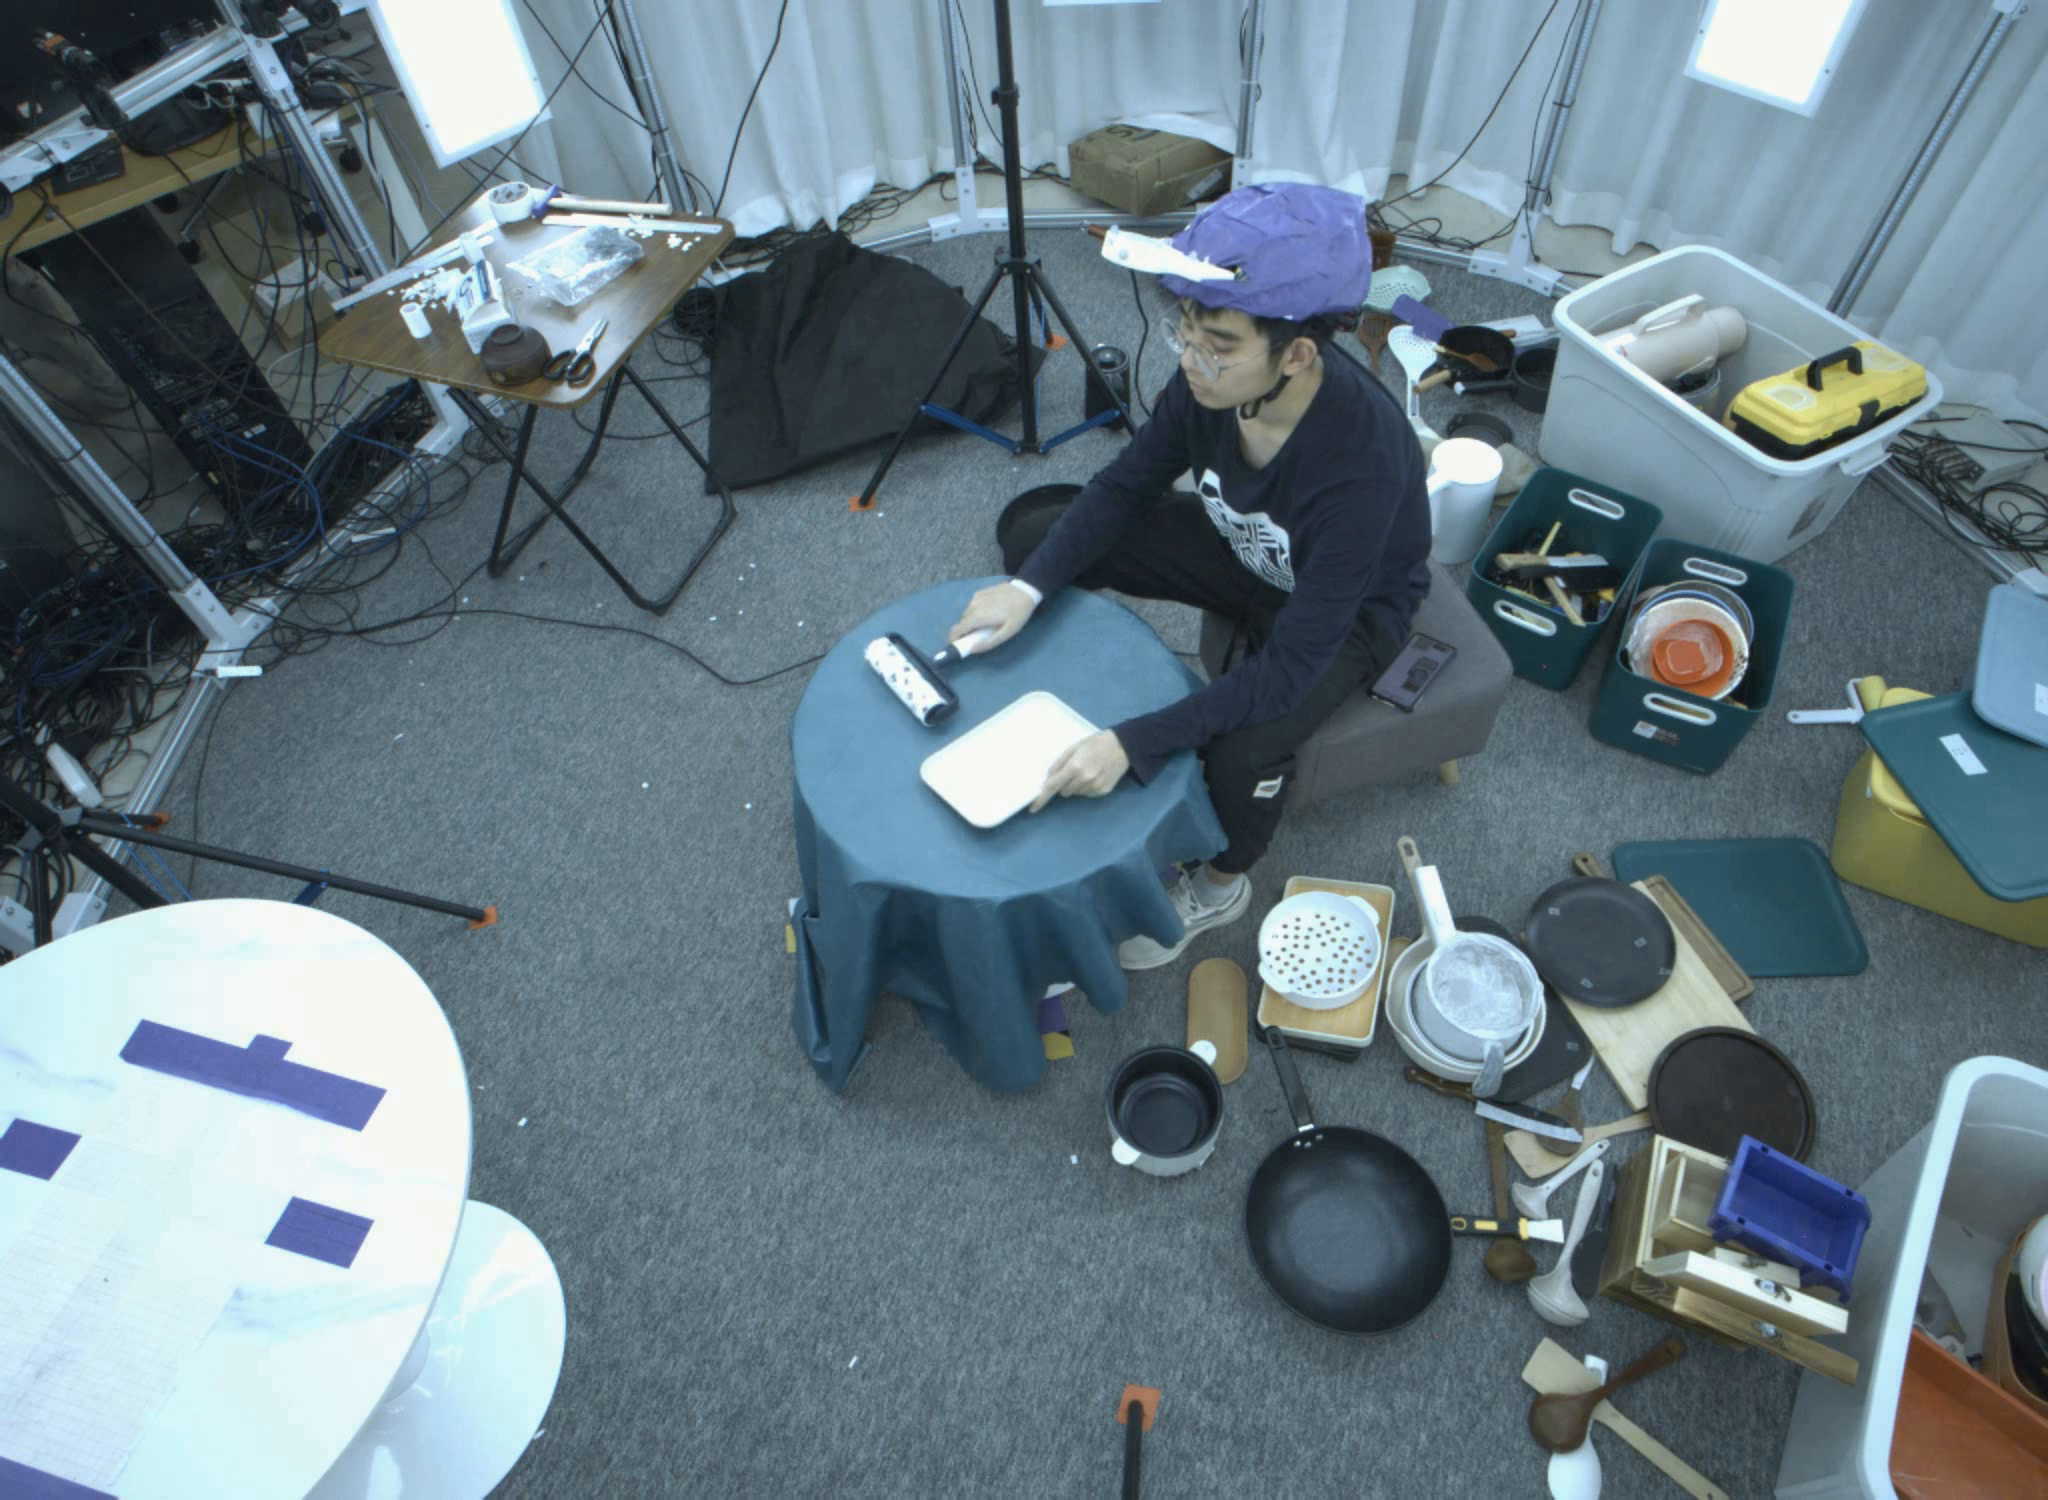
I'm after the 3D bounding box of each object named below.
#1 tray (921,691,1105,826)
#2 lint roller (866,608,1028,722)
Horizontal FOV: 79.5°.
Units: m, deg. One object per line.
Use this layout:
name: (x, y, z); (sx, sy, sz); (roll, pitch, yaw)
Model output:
tray: (-0.015, 0.010, 1.761); (0.242, 0.018, 0.167); (-34, 50, -22)
lint roller: (-0.098, -0.159, 1.878); (0.249, 0.051, 0.173); (-34, 60, -20)
